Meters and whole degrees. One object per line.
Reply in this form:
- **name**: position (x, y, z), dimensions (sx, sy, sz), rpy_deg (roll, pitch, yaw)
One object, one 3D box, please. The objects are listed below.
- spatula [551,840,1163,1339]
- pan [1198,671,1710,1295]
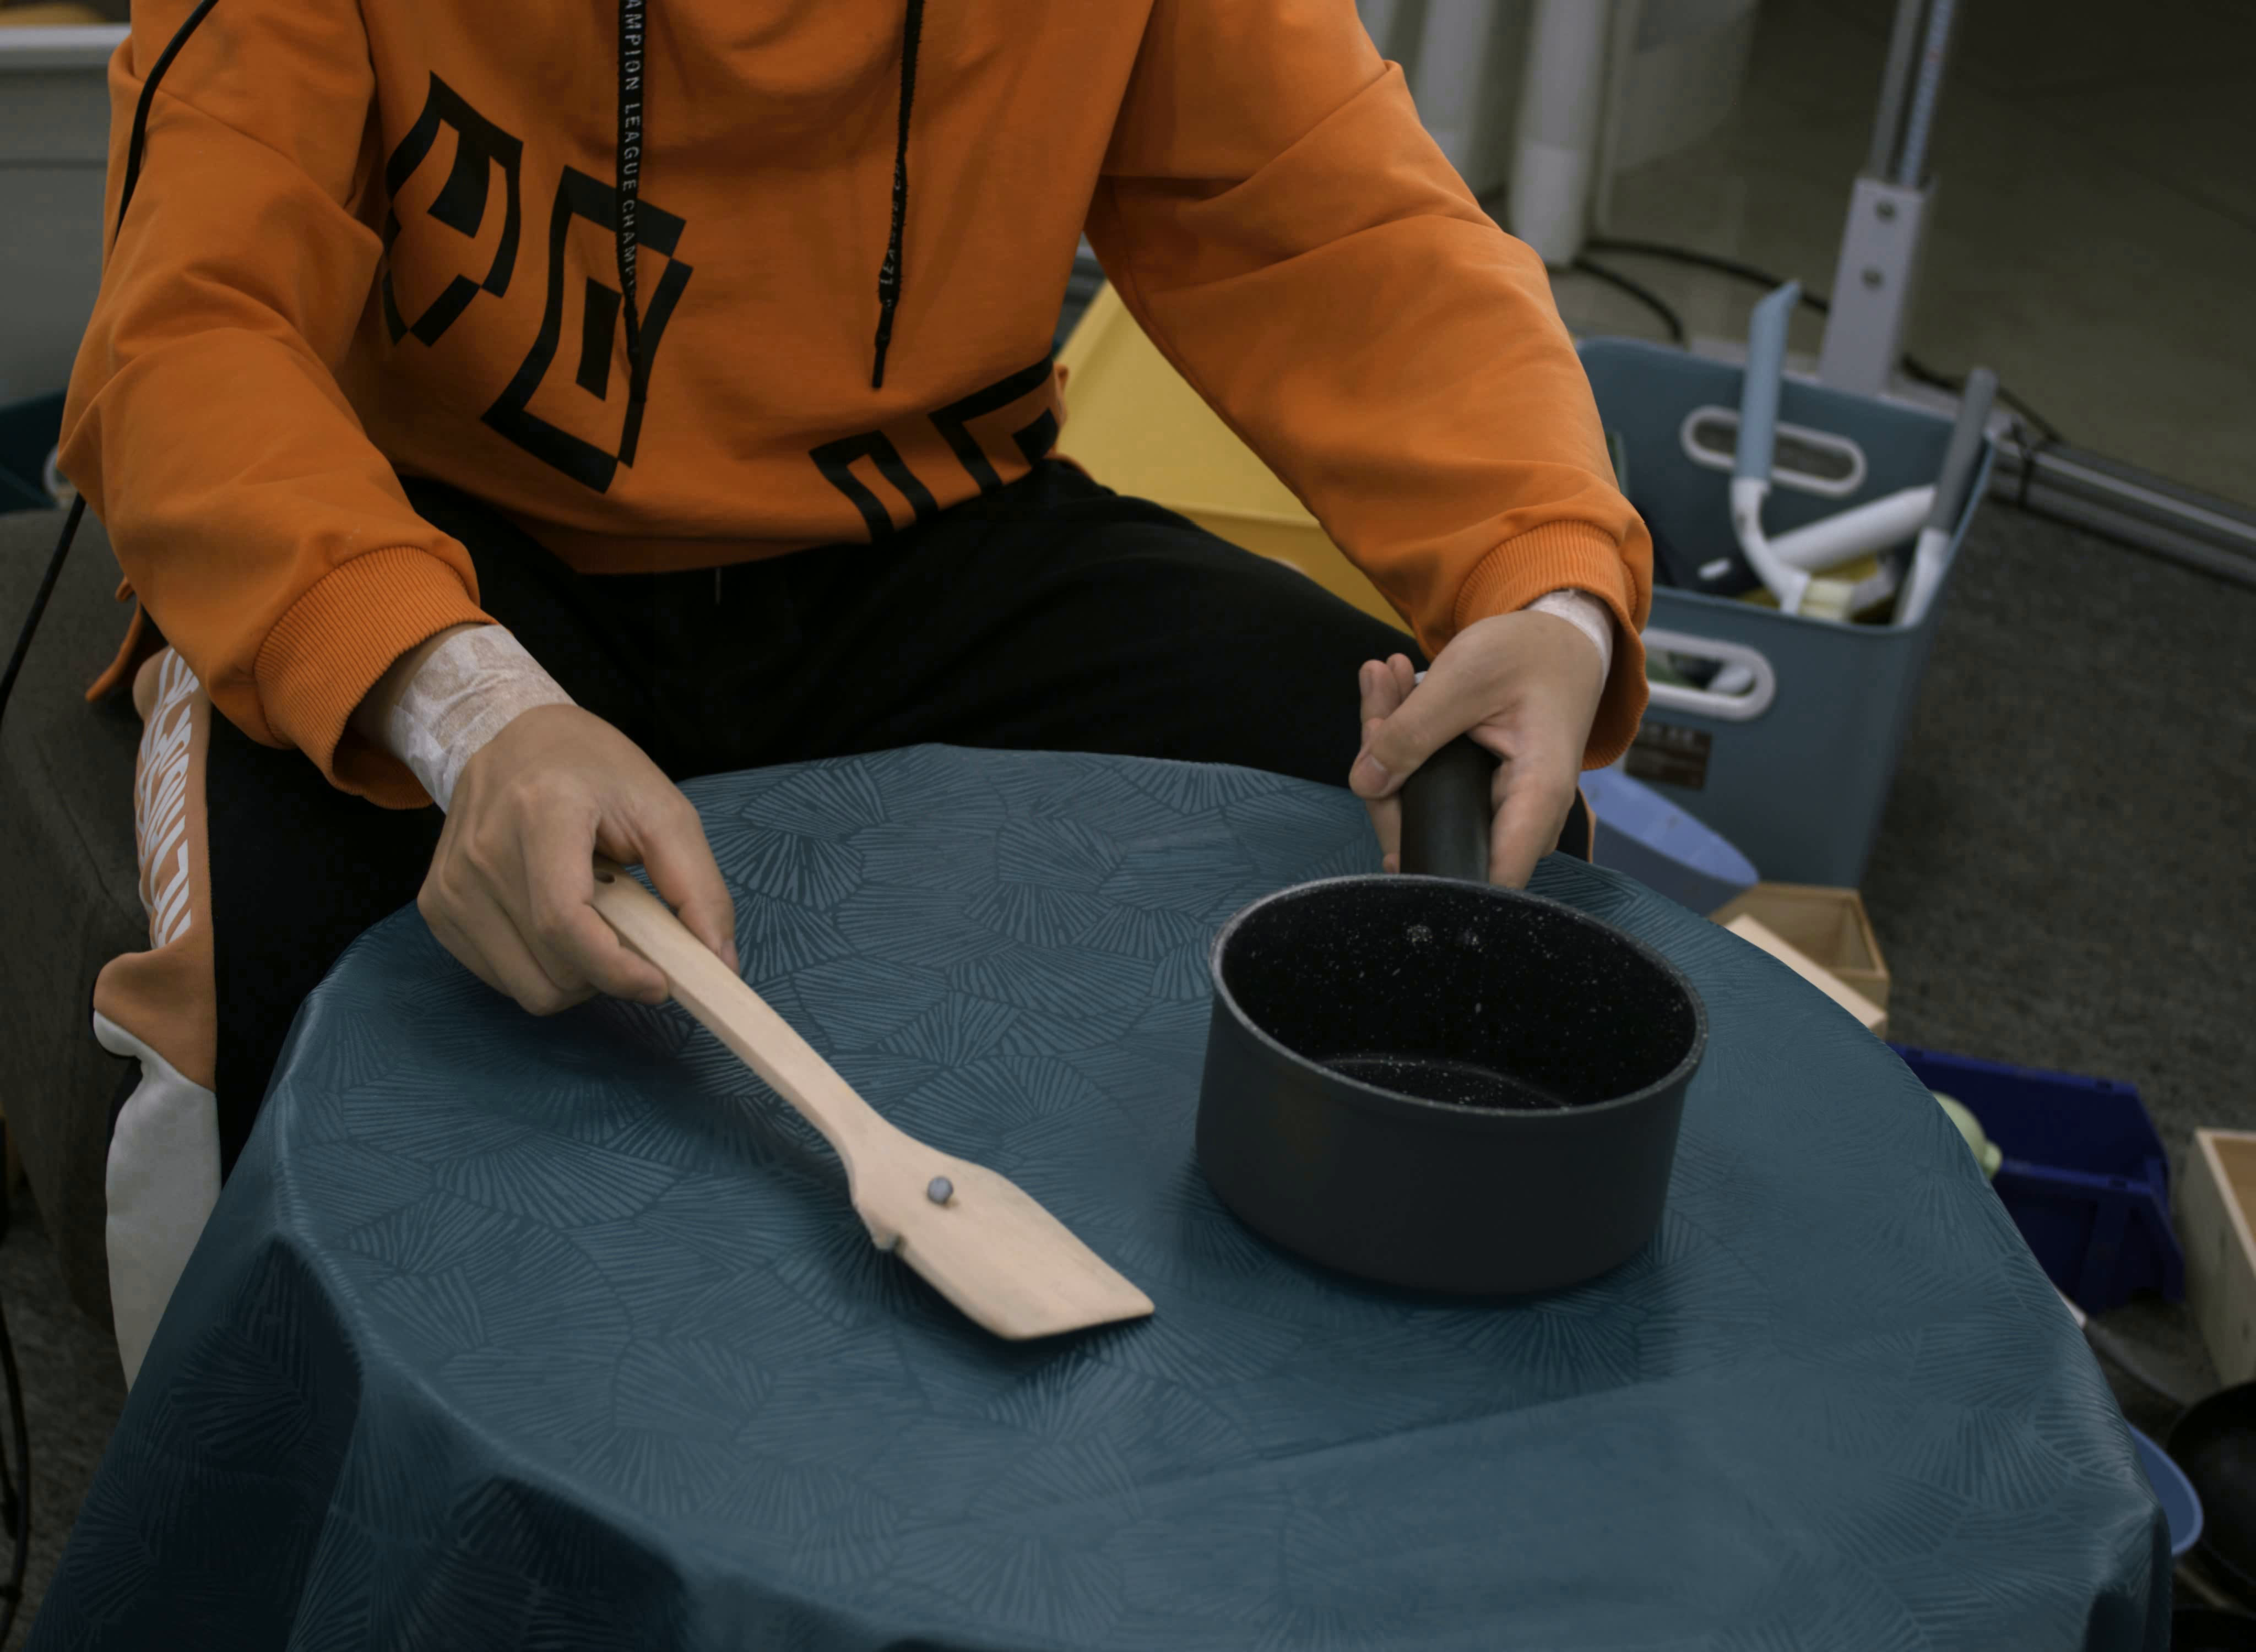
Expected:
- **spatula**: position (-0.104, 0.085, 1.791), dimensions (0.072, 0.010, 0.295), rpy_deg (-5, 35, -46)
- **pan**: position (0.113, 0.051, 1.879), dimensions (0.171, 0.086, 0.330), rpy_deg (9, 27, 1)
